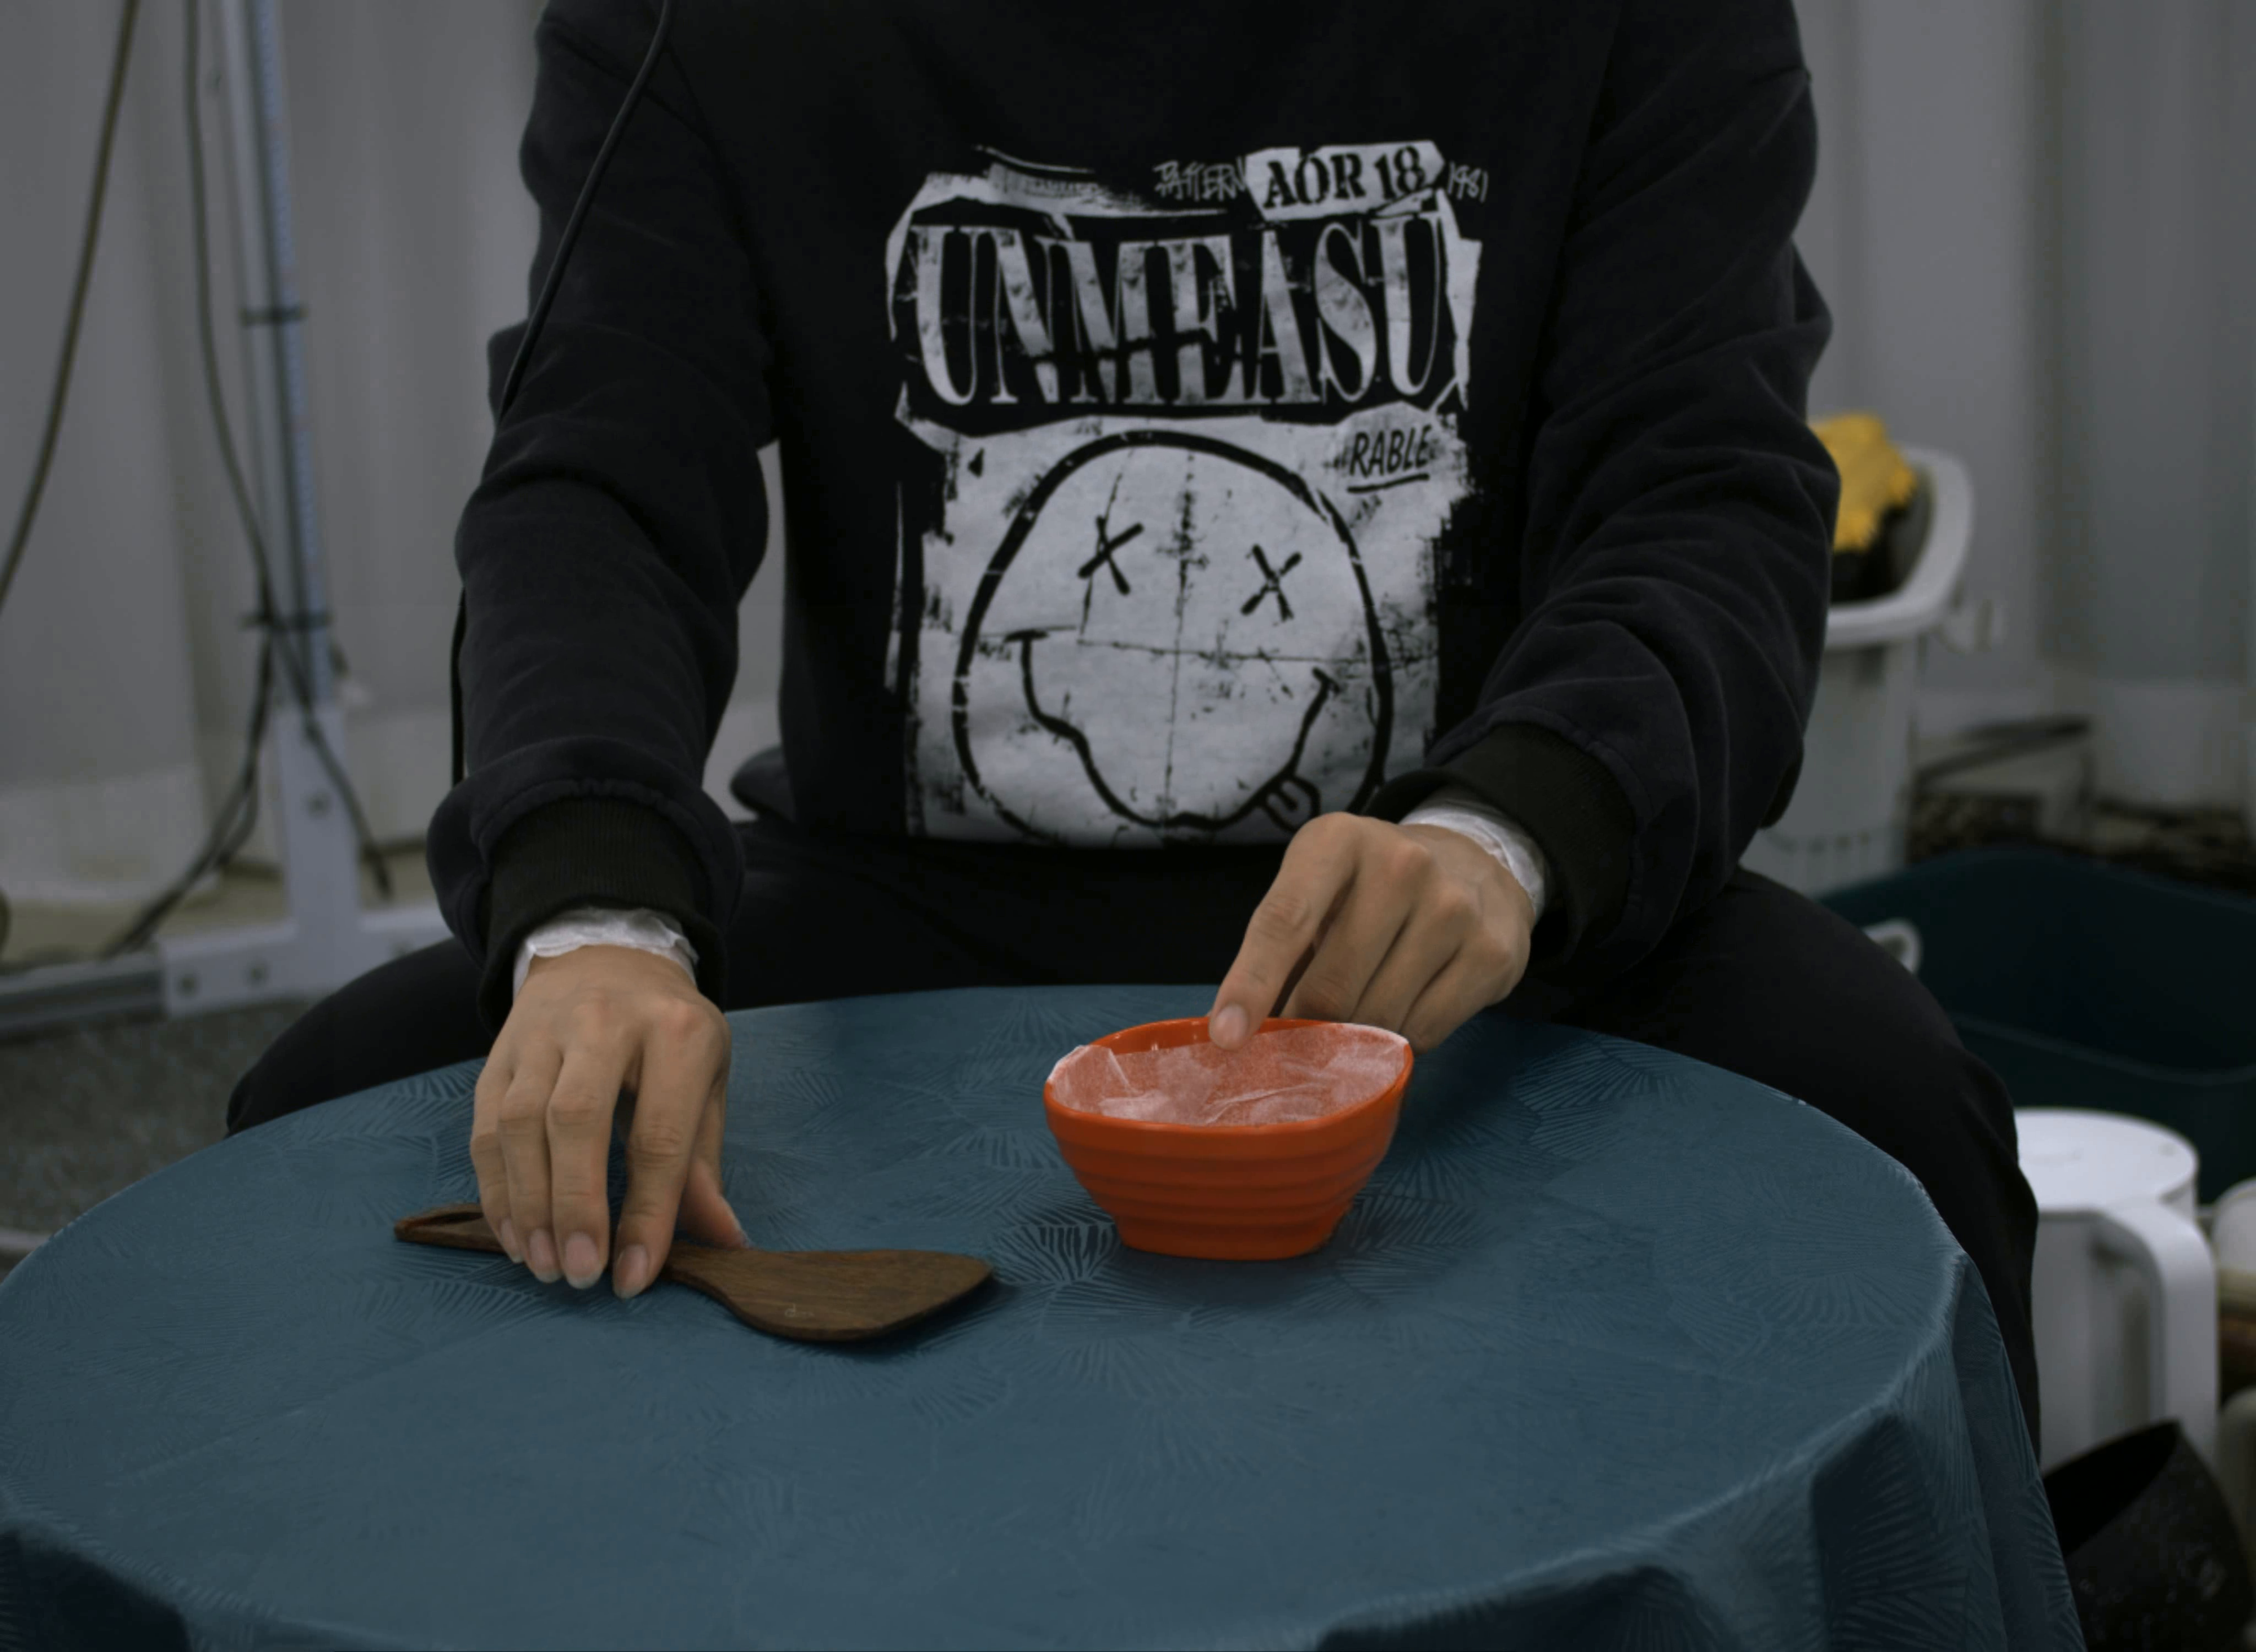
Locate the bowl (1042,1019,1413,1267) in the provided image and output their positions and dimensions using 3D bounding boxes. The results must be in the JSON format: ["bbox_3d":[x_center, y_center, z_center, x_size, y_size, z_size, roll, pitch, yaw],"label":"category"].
[{"bbox_3d":[0.032,0.099,1.673,0.118,0.051,0.120,-4,16,1],"label":"bowl"}]

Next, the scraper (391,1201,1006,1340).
[{"bbox_3d":[-0.137,0.132,1.660,0.212,0.011,0.076,6,16,33],"label":"scraper"}]
